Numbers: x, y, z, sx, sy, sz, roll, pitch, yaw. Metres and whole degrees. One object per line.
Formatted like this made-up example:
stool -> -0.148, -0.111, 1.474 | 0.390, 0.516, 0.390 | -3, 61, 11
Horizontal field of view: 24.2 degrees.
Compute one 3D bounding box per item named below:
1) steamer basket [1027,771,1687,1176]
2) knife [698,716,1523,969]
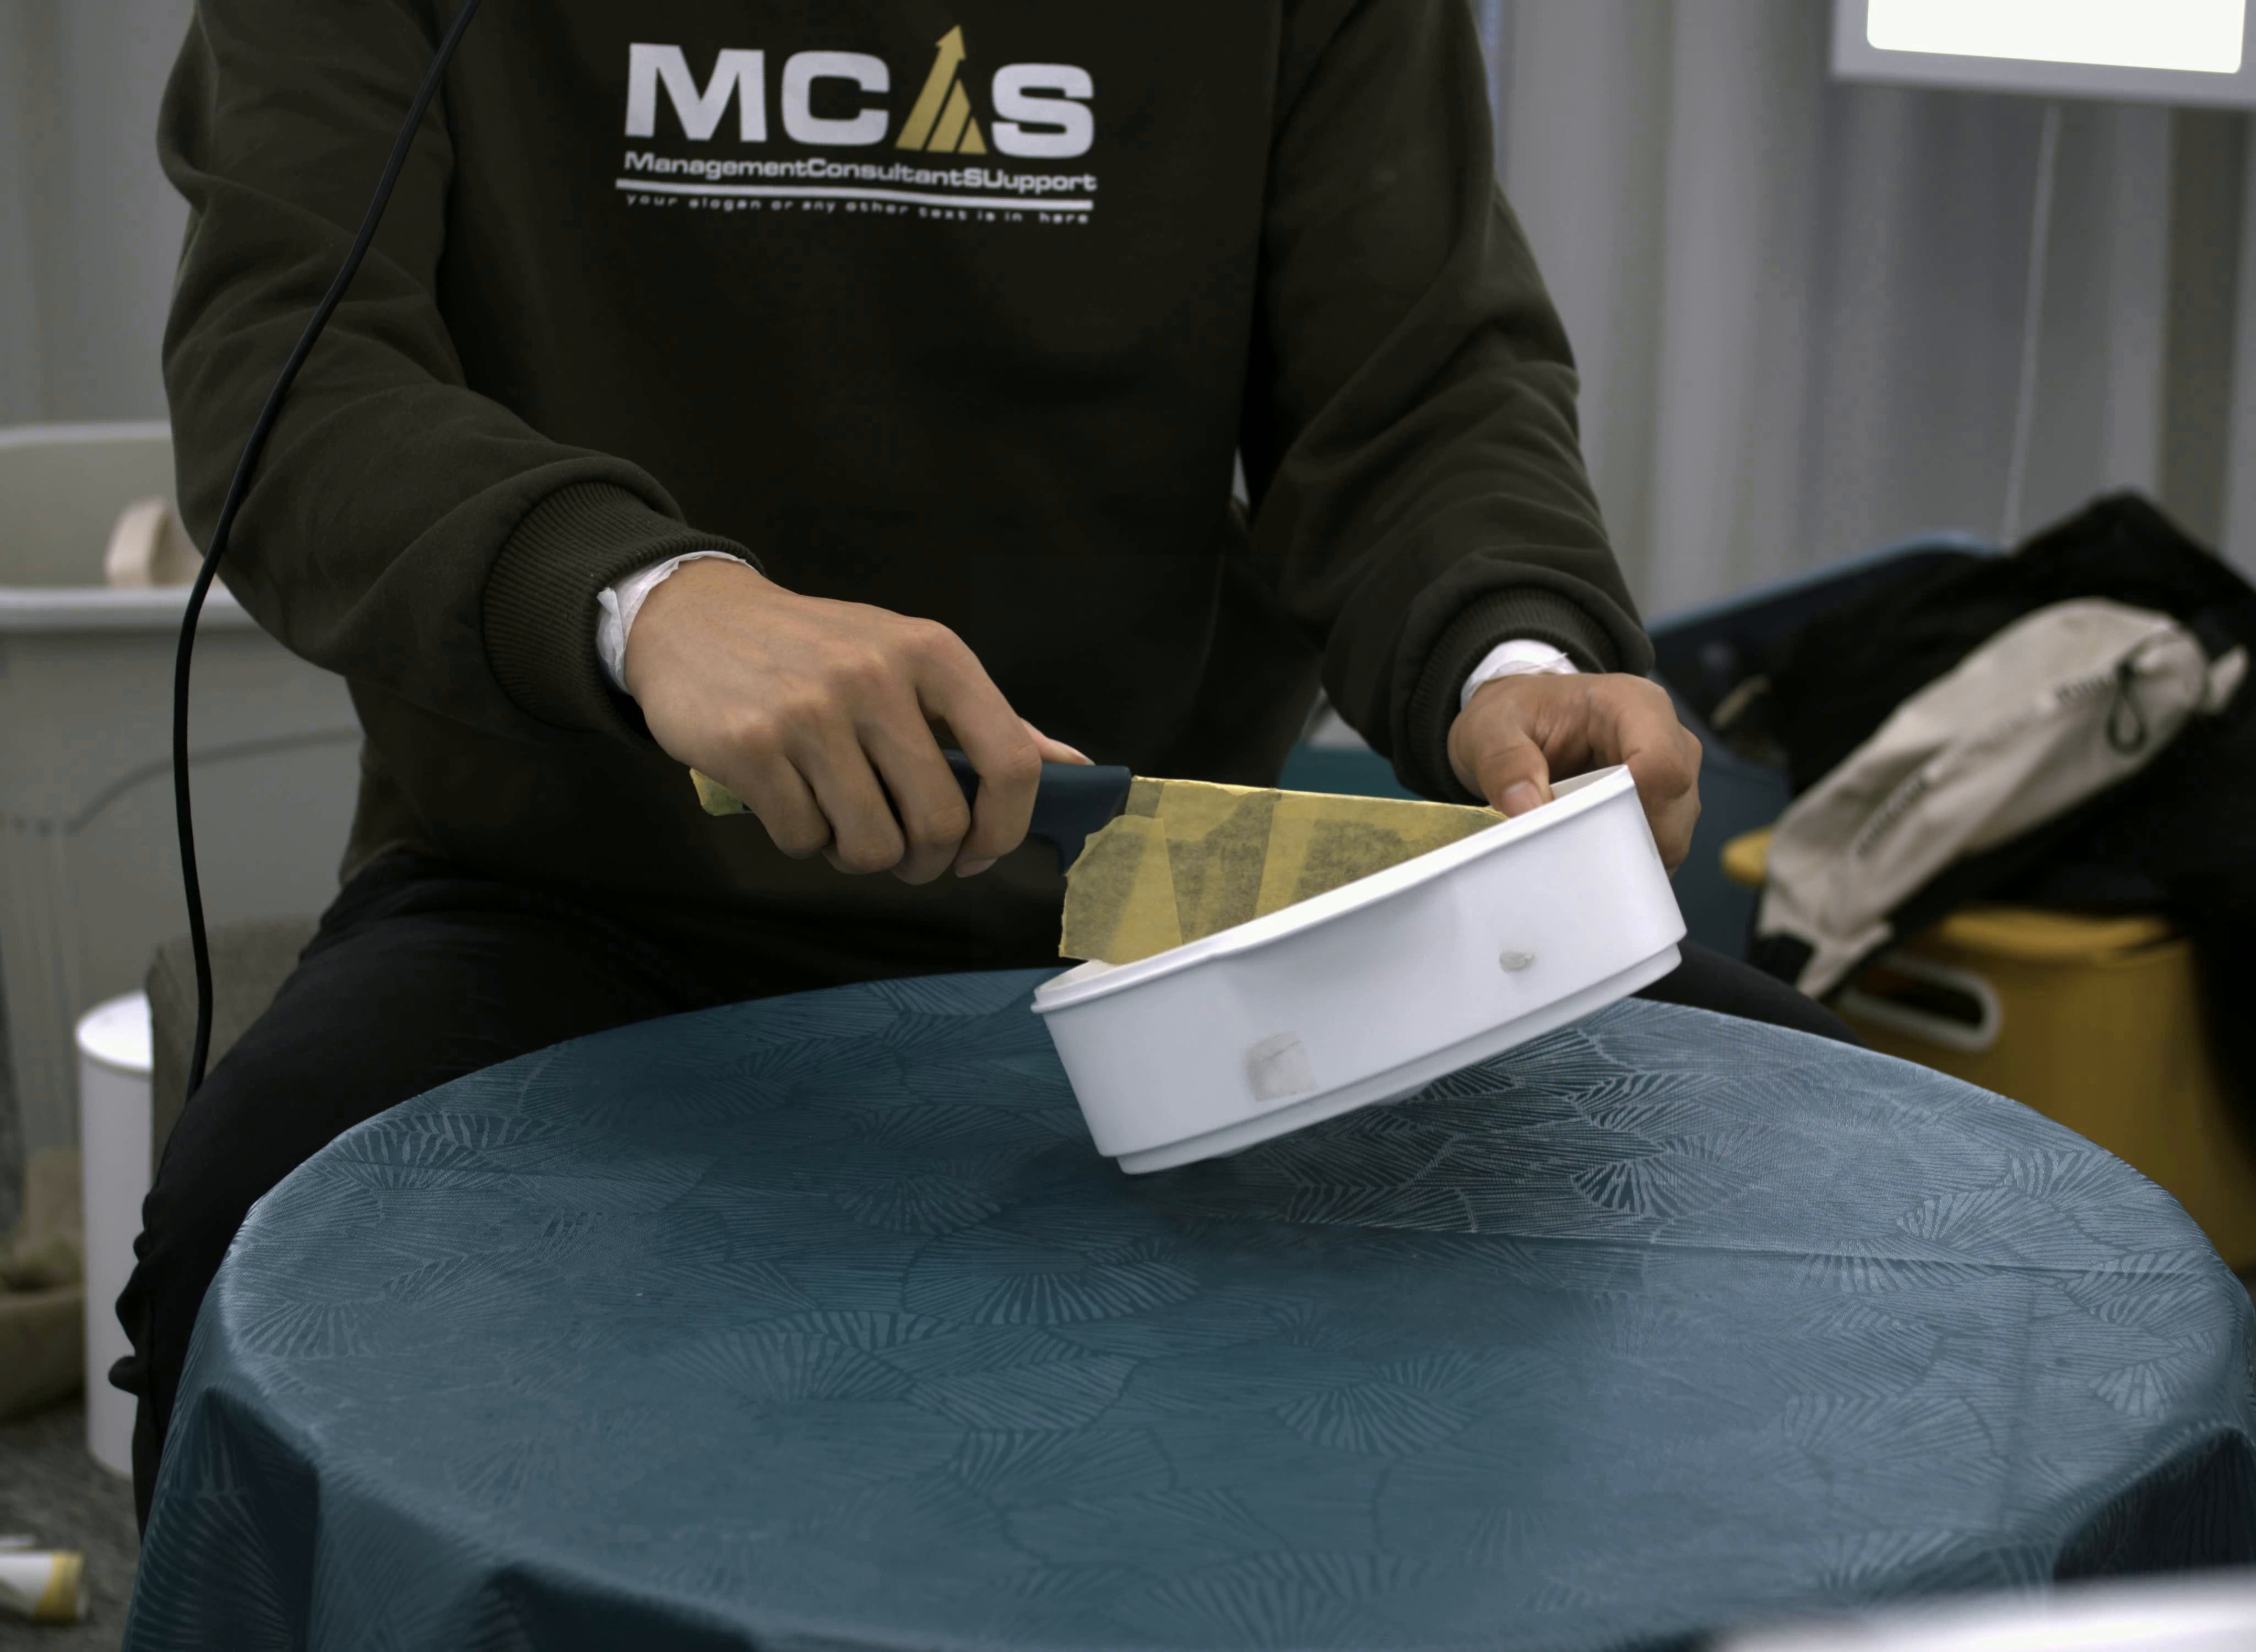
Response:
steamer basket -> 0.073, 0.047, 1.615 | 0.201, 0.069, 0.231 | -20, -1, 5
knife -> 0.007, 0.010, 1.639 | 0.289, 0.082, 0.027 | 10, 27, -4
